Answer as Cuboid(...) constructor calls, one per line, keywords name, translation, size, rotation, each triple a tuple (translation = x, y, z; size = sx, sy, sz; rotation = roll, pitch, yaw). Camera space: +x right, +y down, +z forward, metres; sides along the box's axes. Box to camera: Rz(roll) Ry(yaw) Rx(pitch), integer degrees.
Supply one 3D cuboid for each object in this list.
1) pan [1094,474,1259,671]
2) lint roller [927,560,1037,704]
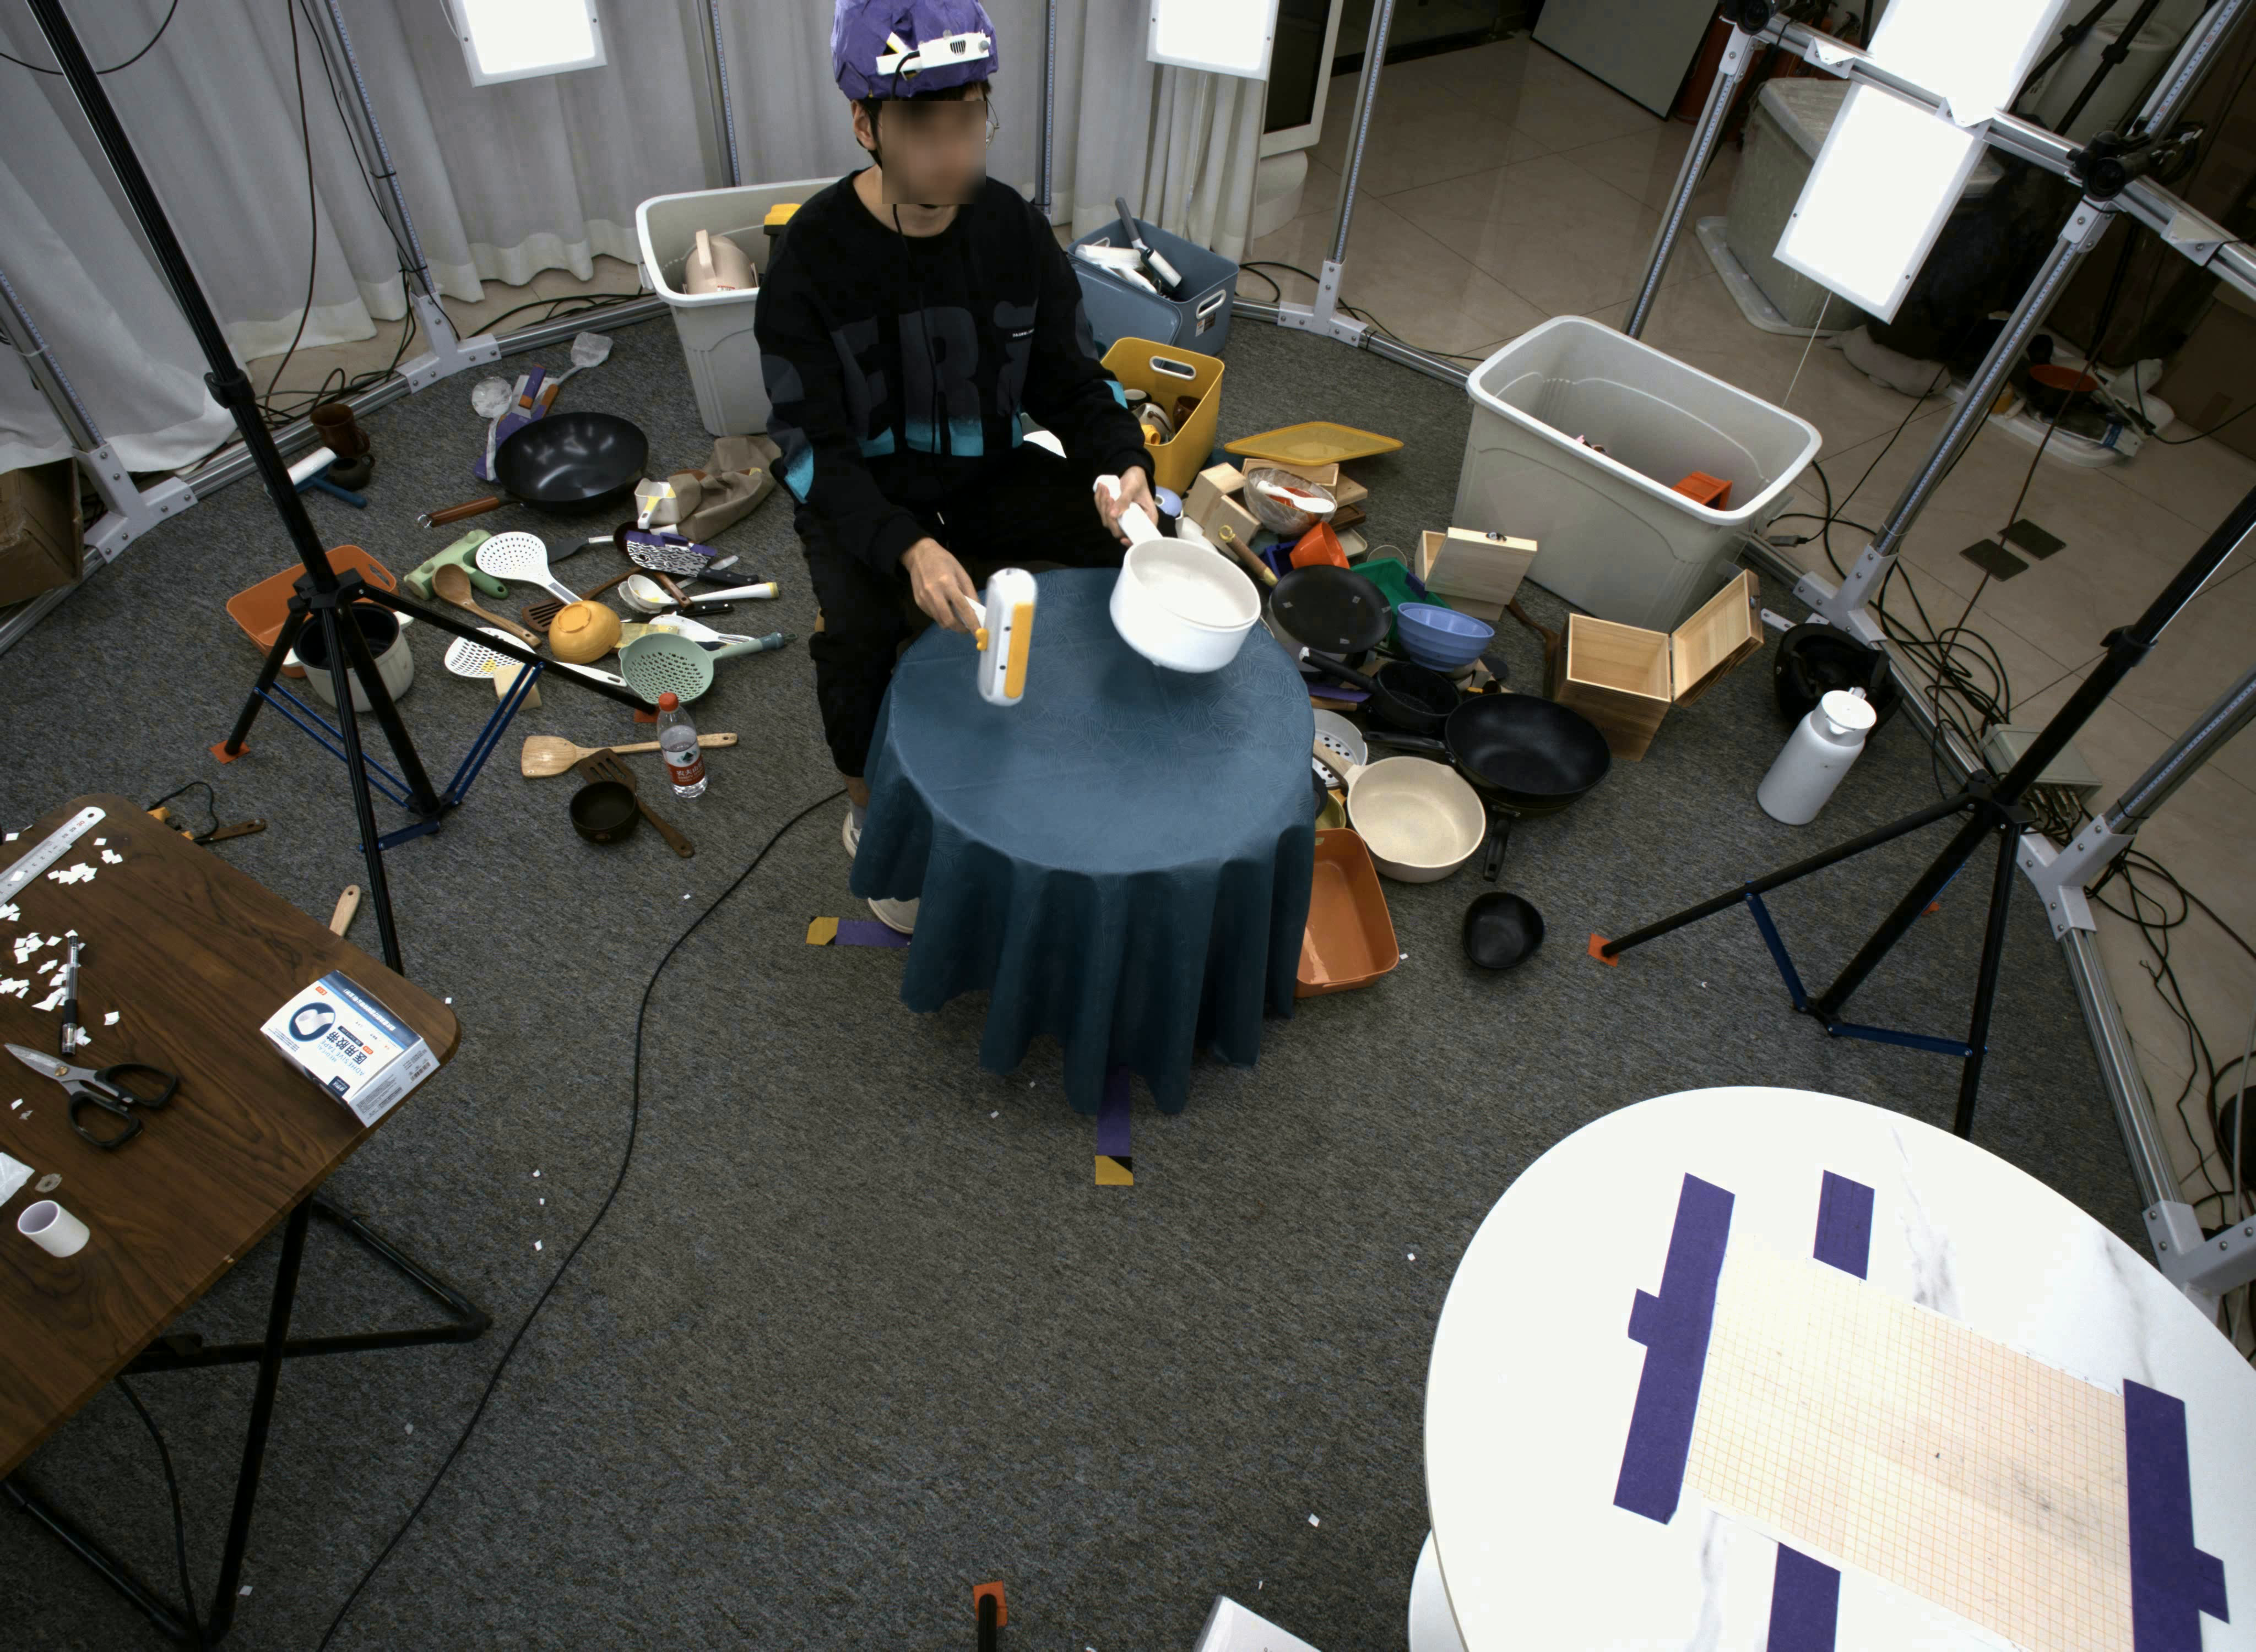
Cuboid(name="pan", translation=(0.037, -0.360, 1.832), size=(0.201, 0.100, 0.362), rotation=(-8, 49, -34))
Cuboid(name="lint roller", translation=(-0.199, -0.280, 1.734), size=(0.074, 0.189, 0.196), rotation=(-13, 35, -34))
